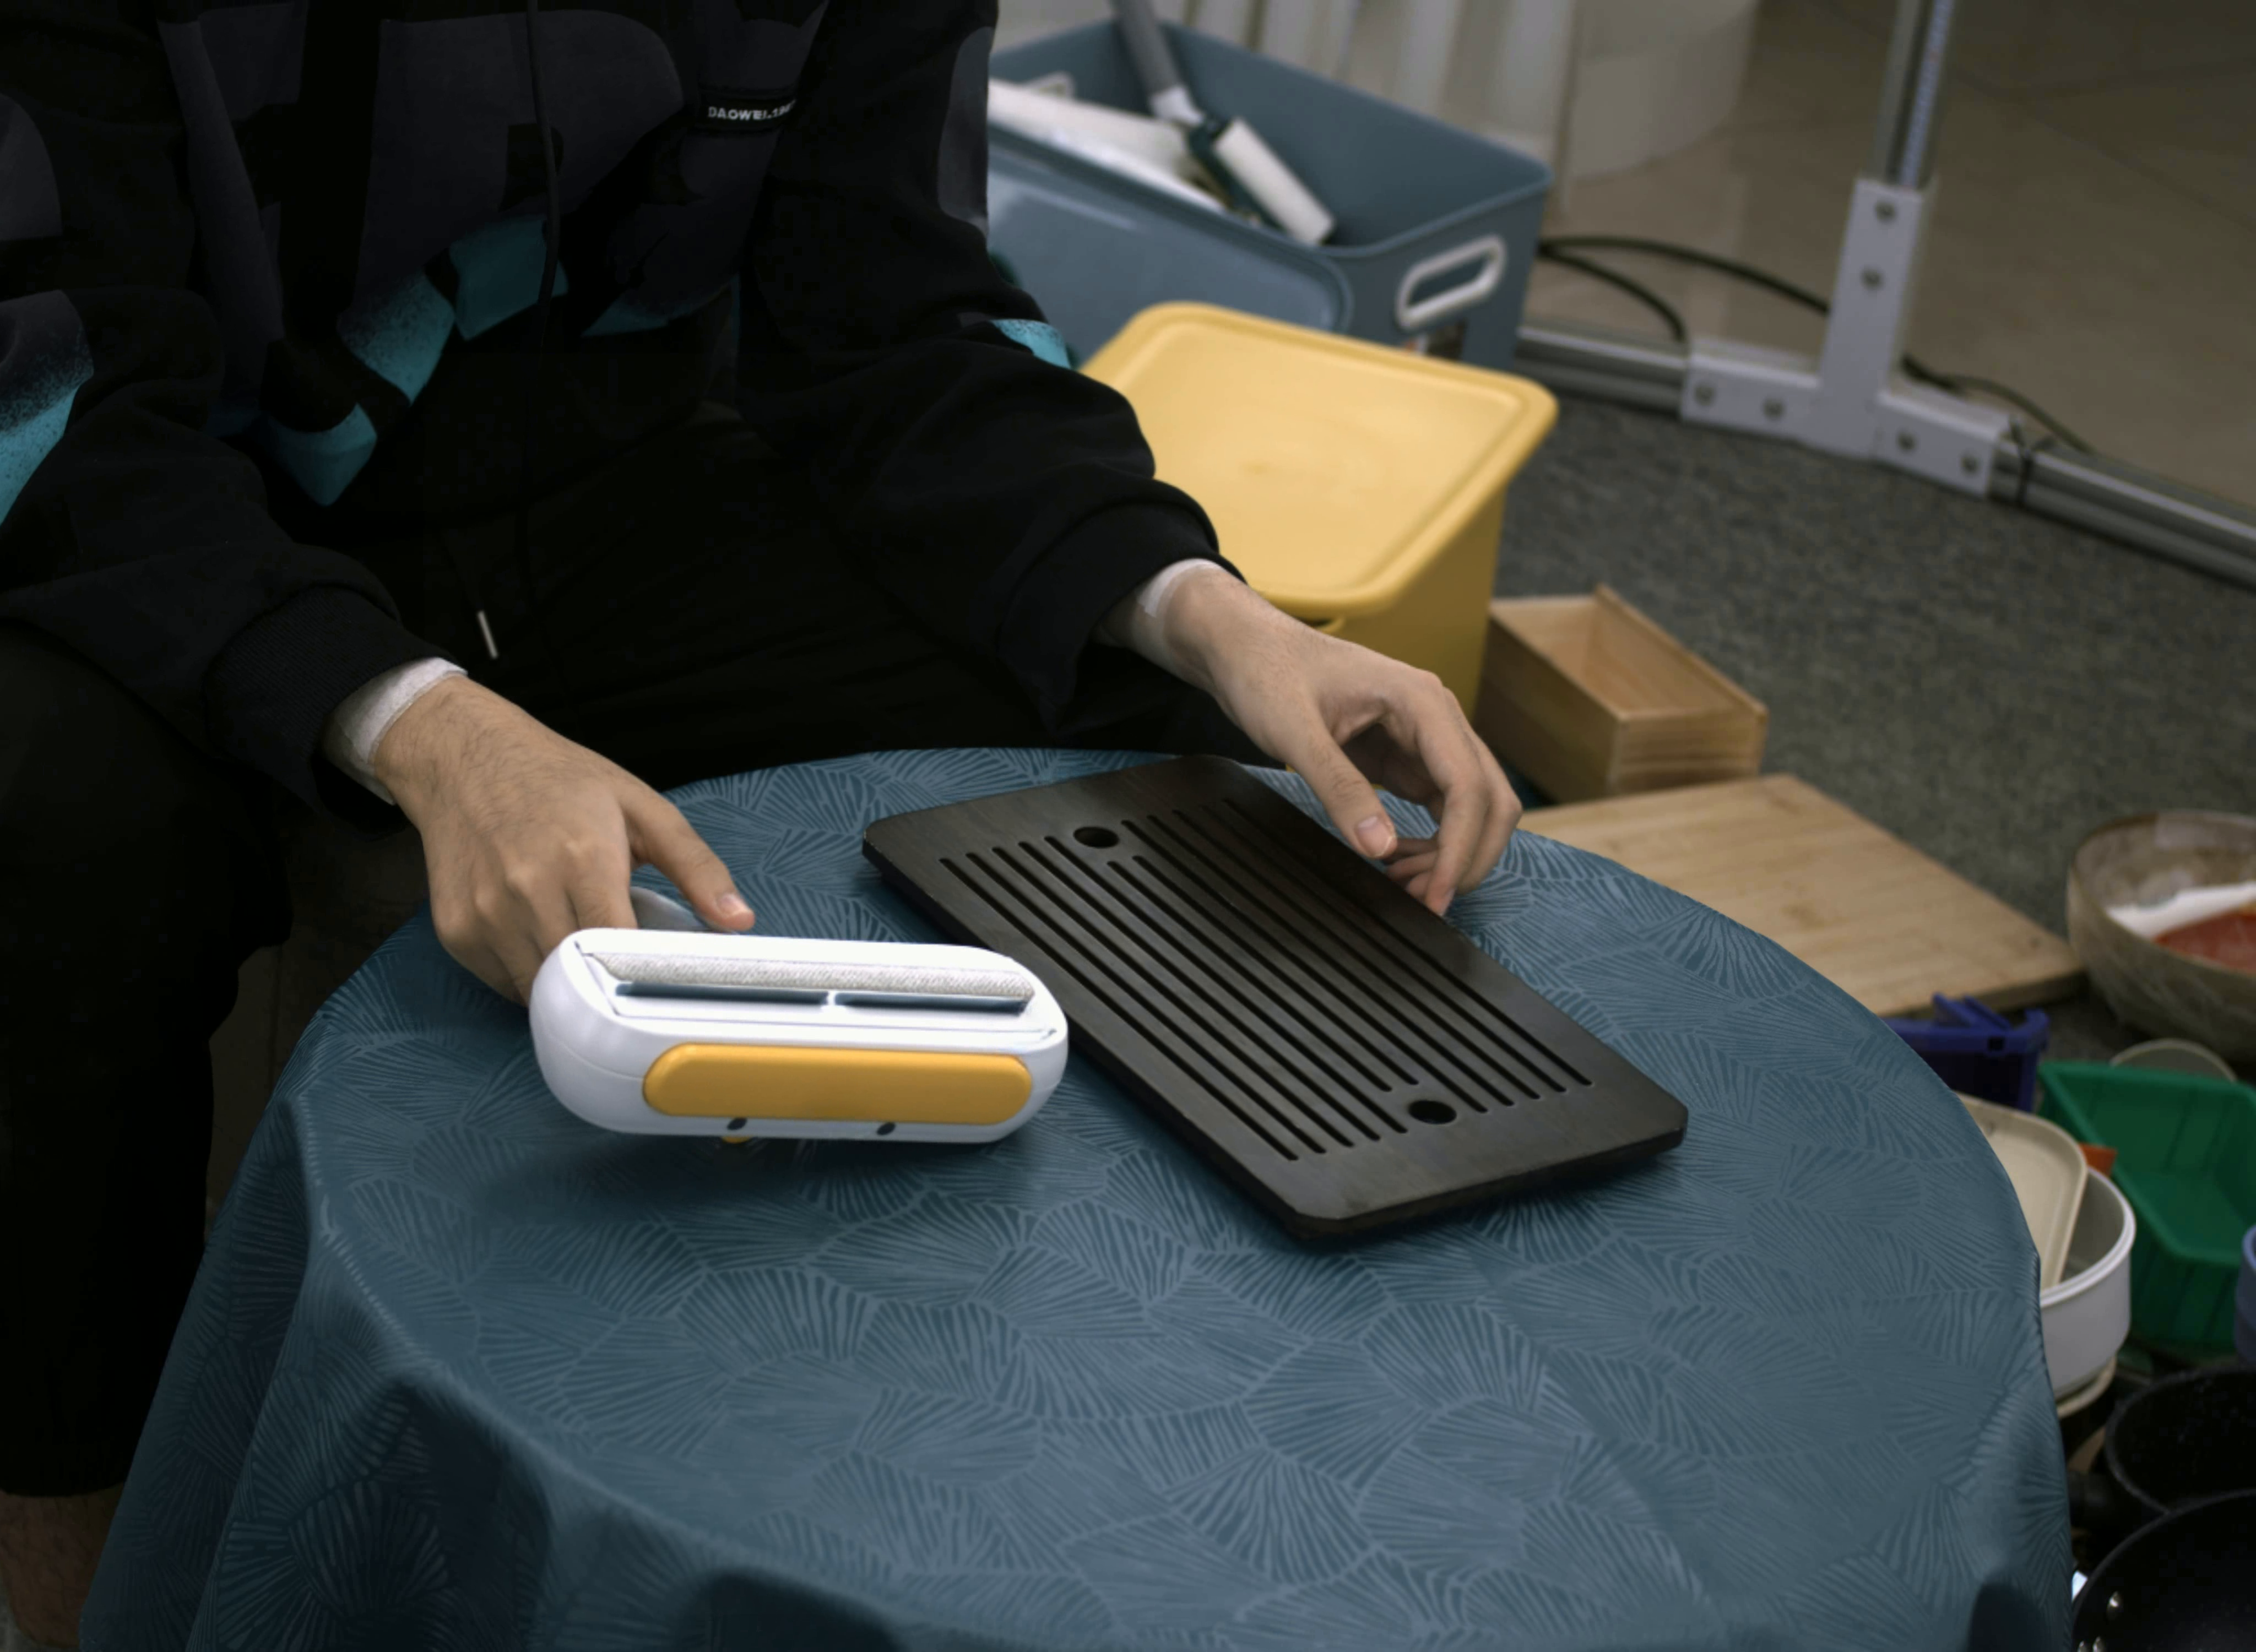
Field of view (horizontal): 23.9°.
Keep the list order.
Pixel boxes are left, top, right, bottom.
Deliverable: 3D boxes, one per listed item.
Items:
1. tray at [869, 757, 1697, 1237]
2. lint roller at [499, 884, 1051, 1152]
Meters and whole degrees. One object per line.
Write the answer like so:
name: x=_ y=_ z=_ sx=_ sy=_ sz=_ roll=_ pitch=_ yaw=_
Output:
tray: x=0.051 y=0.058 z=1.919 sx=0.169 sy=0.018 sz=0.308 roll=-12 pitch=32 yaw=-31
lint roller: x=-0.141 y=0.053 z=1.833 sx=0.191 sy=0.074 sz=0.194 roll=1 pitch=25 yaw=-26
